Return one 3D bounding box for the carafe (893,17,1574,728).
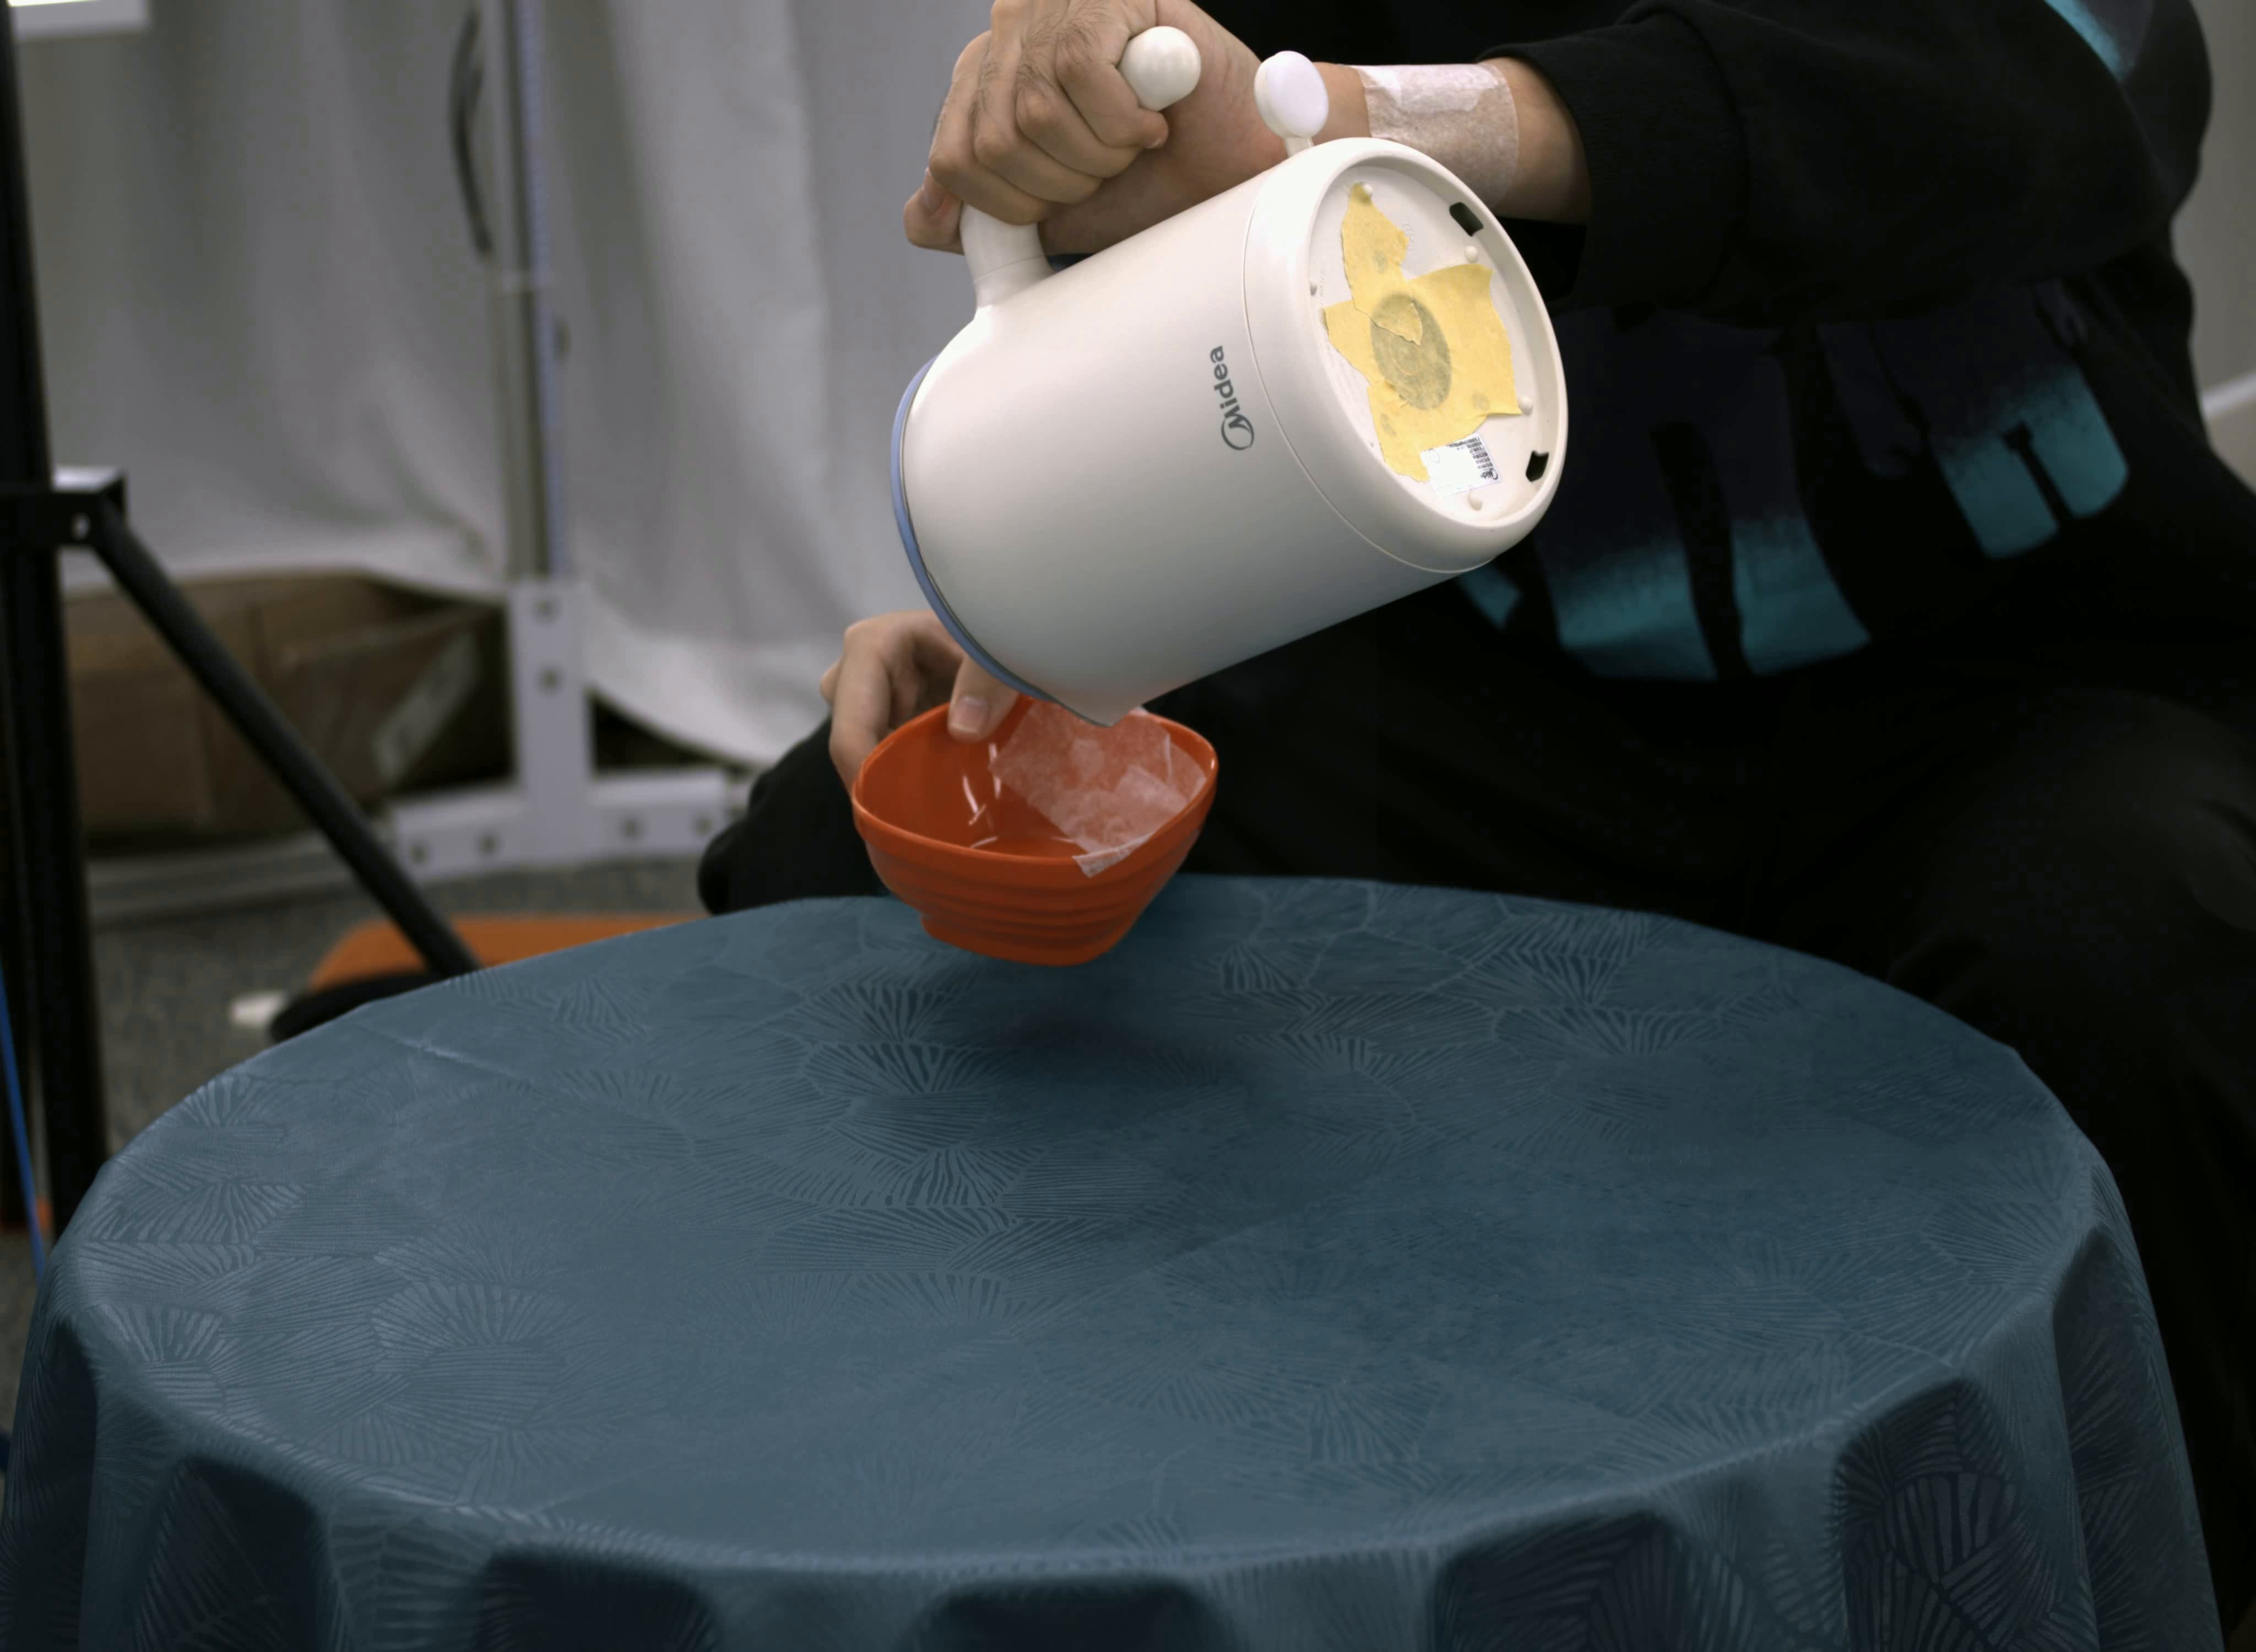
[{"bbox_3d":[0.023,-0.141,1.594,0.185,0.192,0.129,-19,-5,39],"label":"carafe"}]

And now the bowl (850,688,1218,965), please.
[{"bbox_3d":[-0.028,0.004,1.687,0.118,0.051,0.120,-4,28,1],"label":"bowl"}]
